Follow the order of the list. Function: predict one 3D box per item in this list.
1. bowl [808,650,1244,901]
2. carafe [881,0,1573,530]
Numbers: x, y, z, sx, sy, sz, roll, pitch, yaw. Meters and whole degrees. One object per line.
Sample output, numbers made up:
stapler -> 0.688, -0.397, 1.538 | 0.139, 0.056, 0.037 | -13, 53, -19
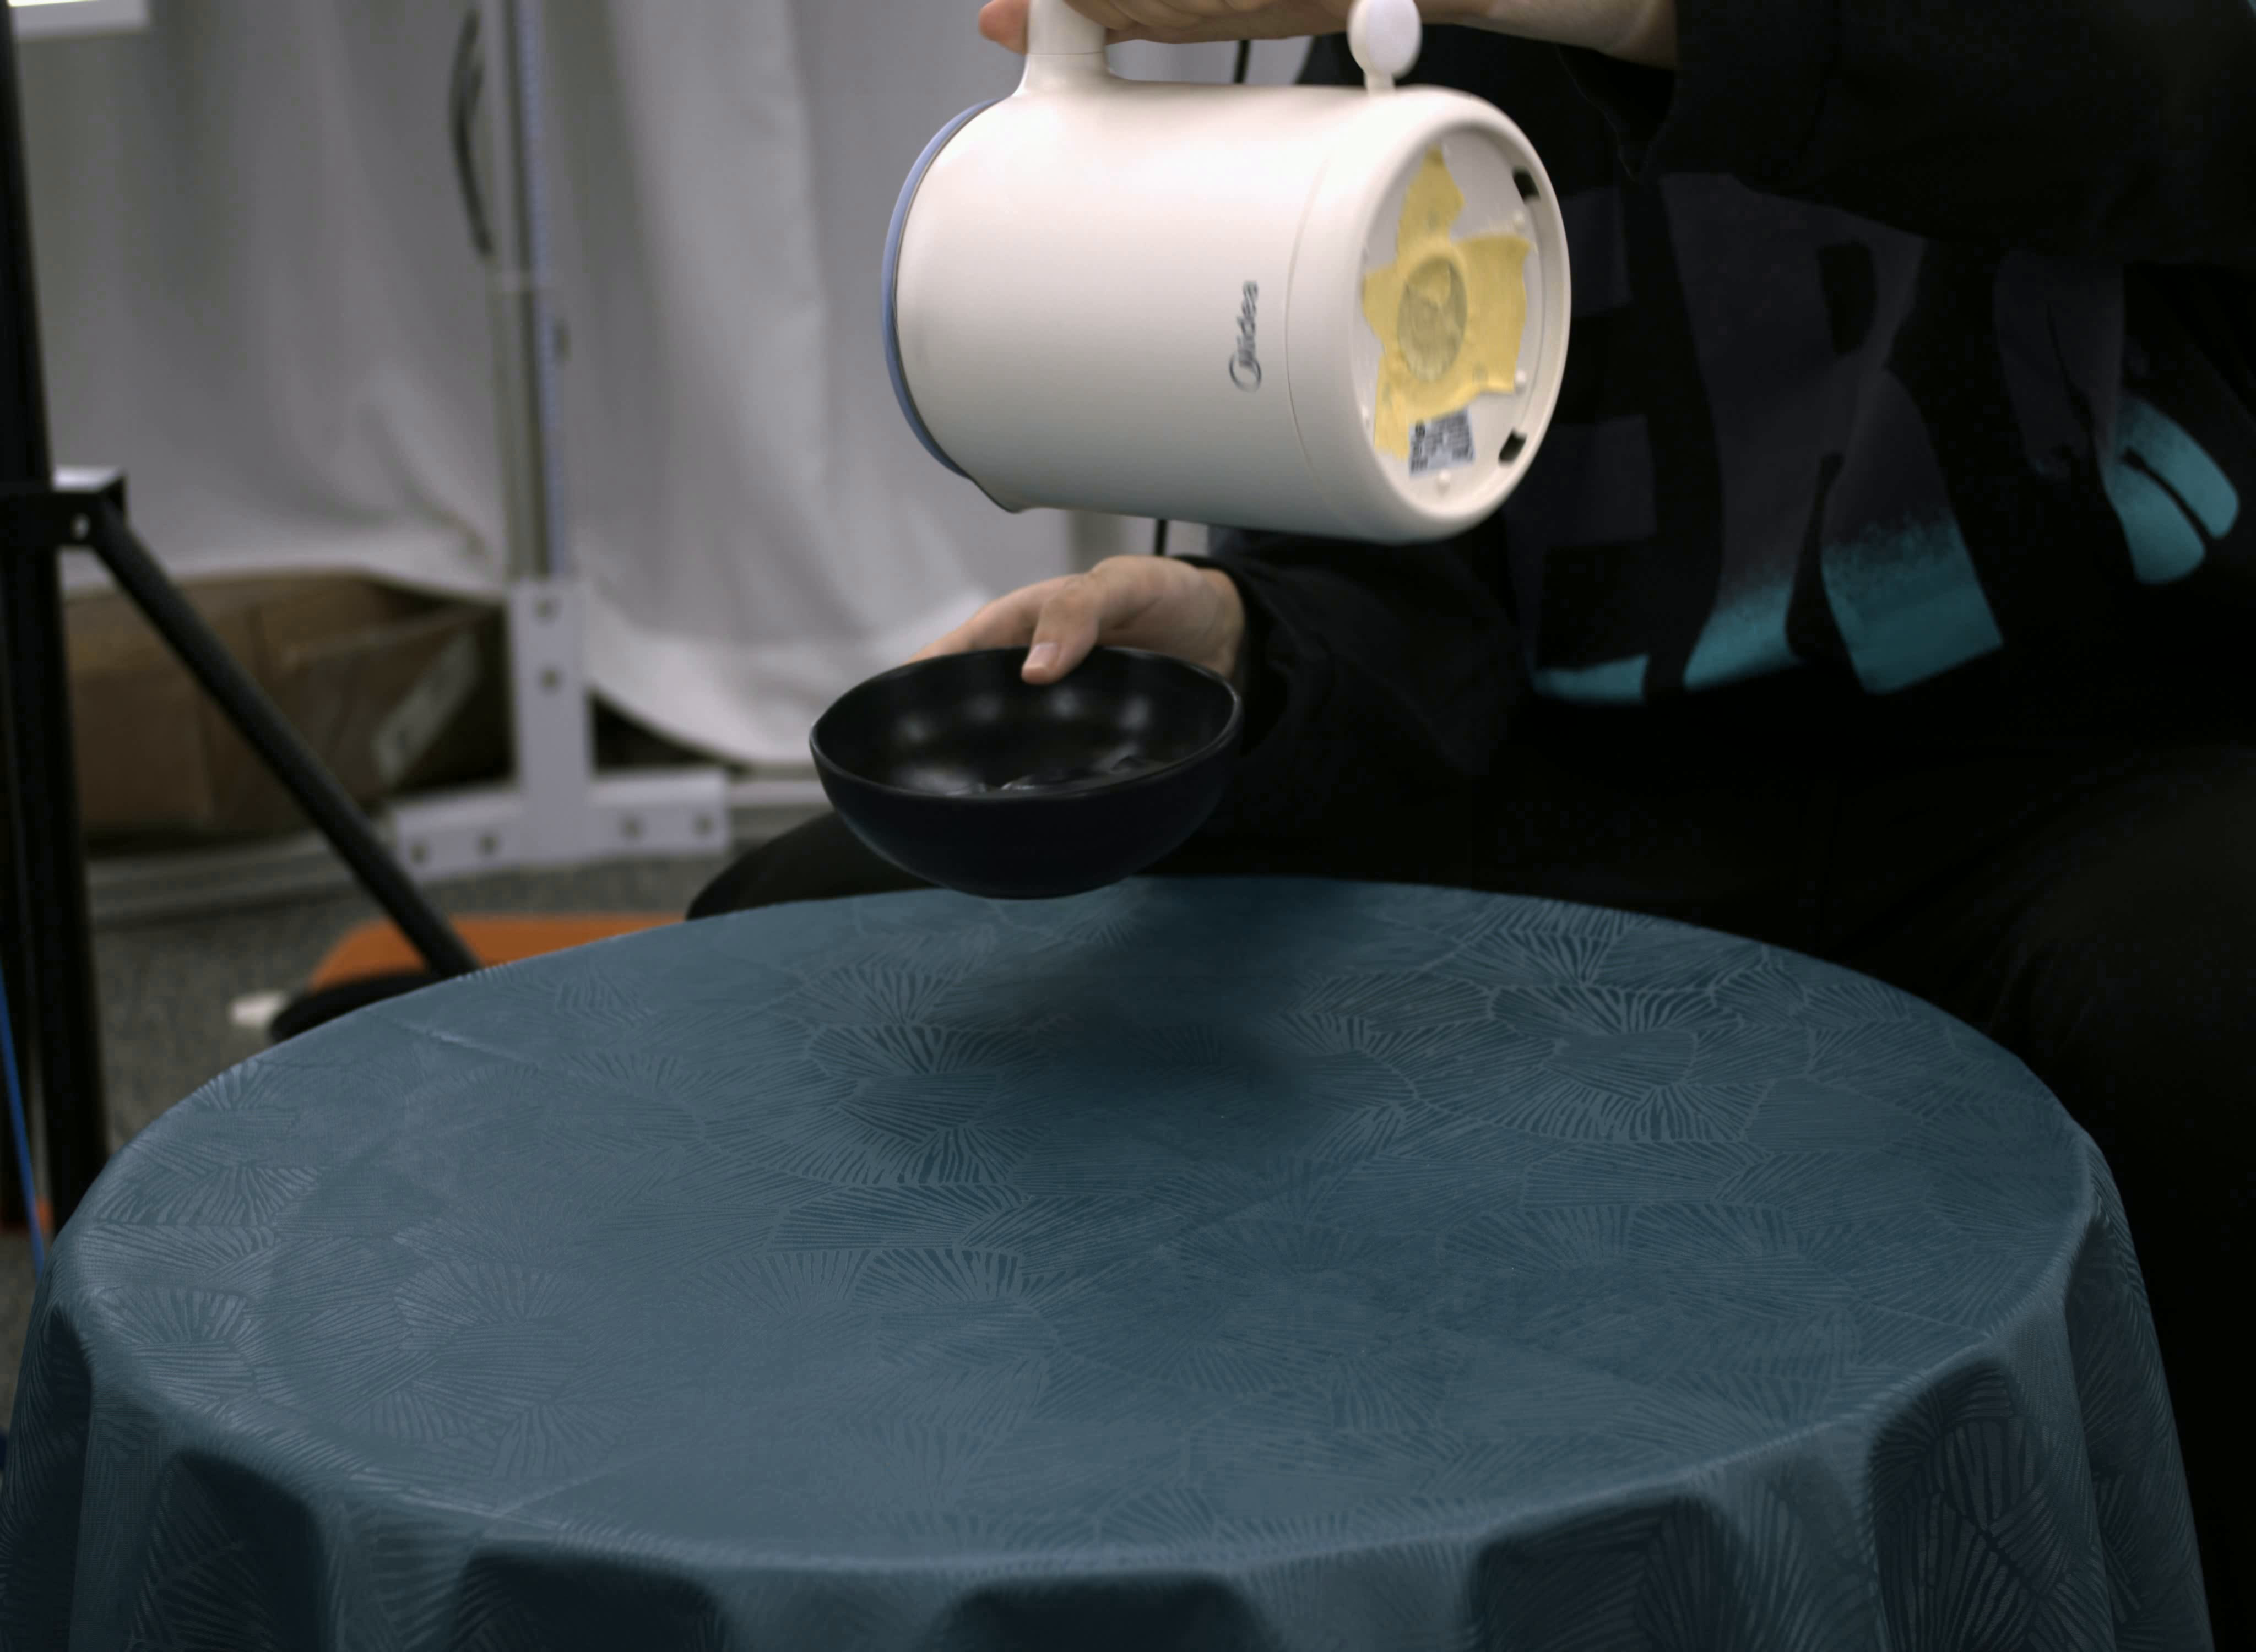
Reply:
bowl -> -0.031, -0.011, 1.688 | 0.139, 0.049, 0.141 | -3, 20, 0
carafe -> 0.029, -0.181, 1.577 | 0.186, 0.191, 0.129 | 8, 13, 36
